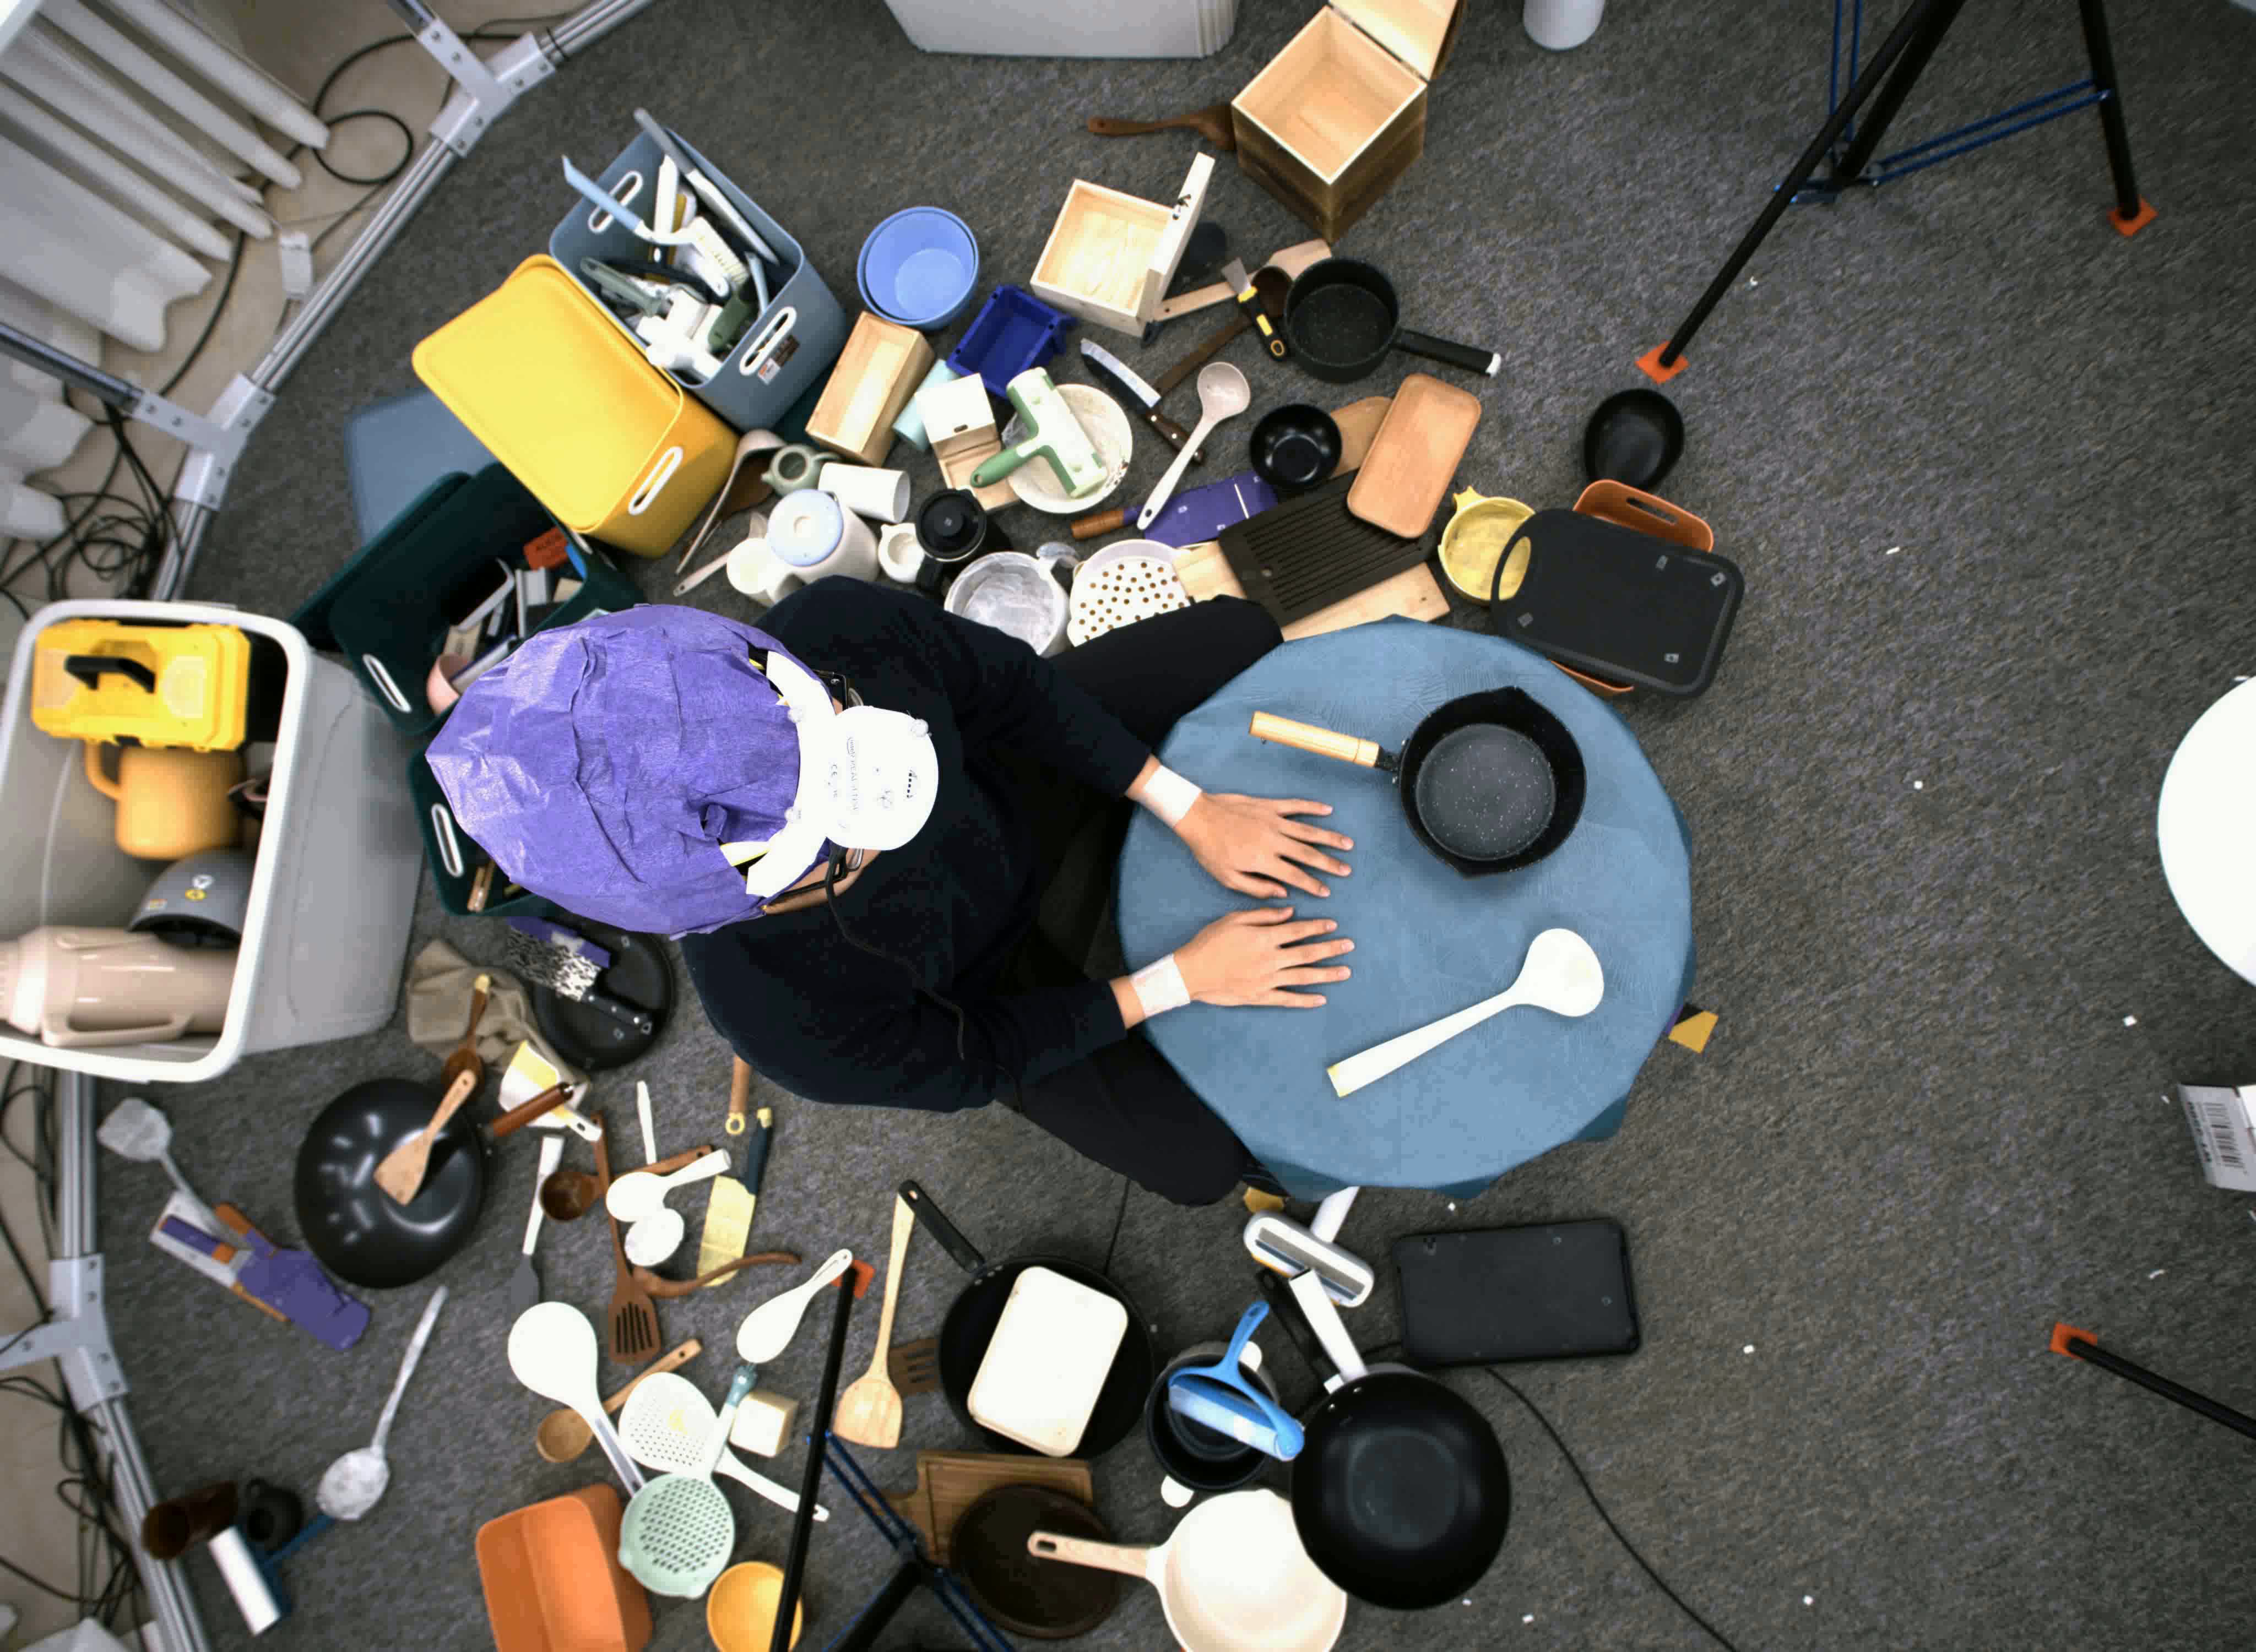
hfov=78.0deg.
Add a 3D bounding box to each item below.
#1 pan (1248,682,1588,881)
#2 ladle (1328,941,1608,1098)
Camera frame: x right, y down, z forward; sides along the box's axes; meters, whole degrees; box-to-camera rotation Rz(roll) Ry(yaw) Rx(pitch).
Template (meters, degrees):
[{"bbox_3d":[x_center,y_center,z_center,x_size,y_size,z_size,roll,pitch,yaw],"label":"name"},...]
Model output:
[{"bbox_3d":[0.291,-0.060,1.409,0.343,0.108,0.207,13,90,10],"label":"pan"},{"bbox_3d":[0.342,0.205,1.407,0.295,0.070,0.090,-26,86,9],"label":"ladle"}]
